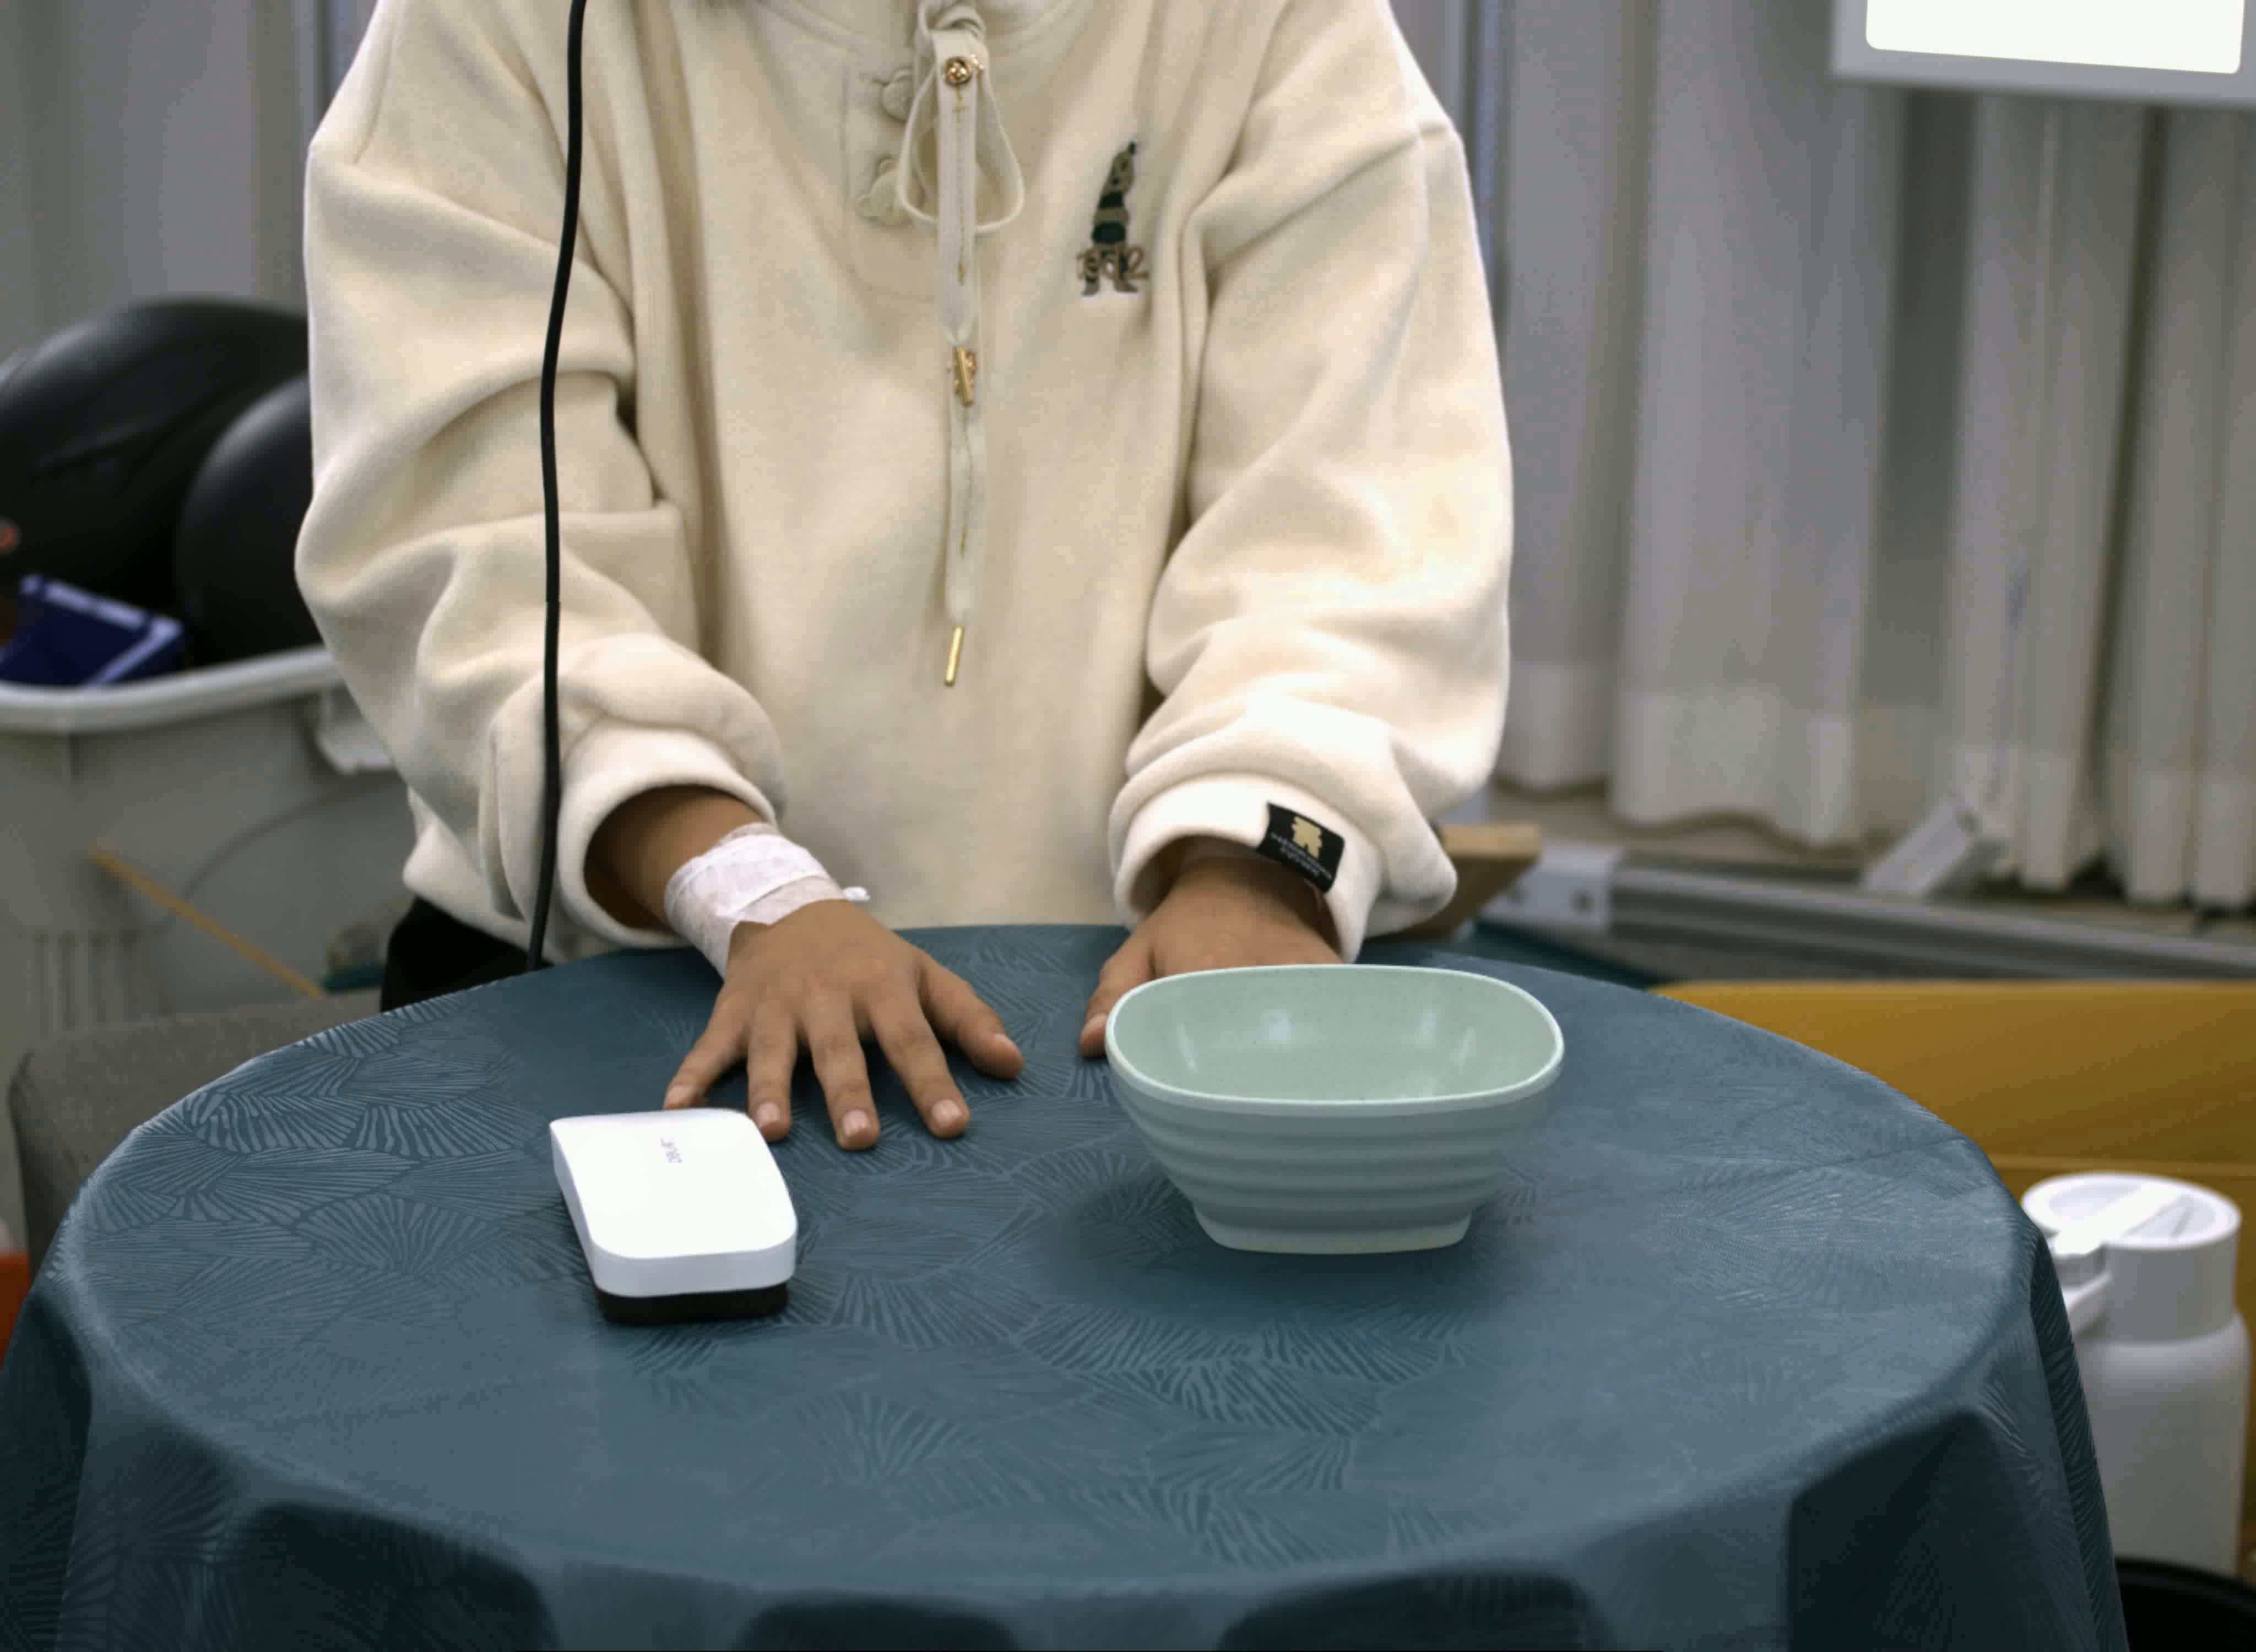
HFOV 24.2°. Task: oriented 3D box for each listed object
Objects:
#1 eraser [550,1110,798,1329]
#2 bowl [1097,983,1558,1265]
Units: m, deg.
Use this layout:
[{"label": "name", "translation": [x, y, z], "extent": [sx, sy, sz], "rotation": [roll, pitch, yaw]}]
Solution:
[{"label": "eraser", "translation": [-0.134, 0.112, 1.562], "extent": [0.063, 0.035, 0.130], "rotation": [-3, 16, -12]}, {"label": "bowl", "translation": [0.060, 0.093, 1.599], "extent": [0.151, 0.059, 0.151], "rotation": [1, 13, 0]}]
